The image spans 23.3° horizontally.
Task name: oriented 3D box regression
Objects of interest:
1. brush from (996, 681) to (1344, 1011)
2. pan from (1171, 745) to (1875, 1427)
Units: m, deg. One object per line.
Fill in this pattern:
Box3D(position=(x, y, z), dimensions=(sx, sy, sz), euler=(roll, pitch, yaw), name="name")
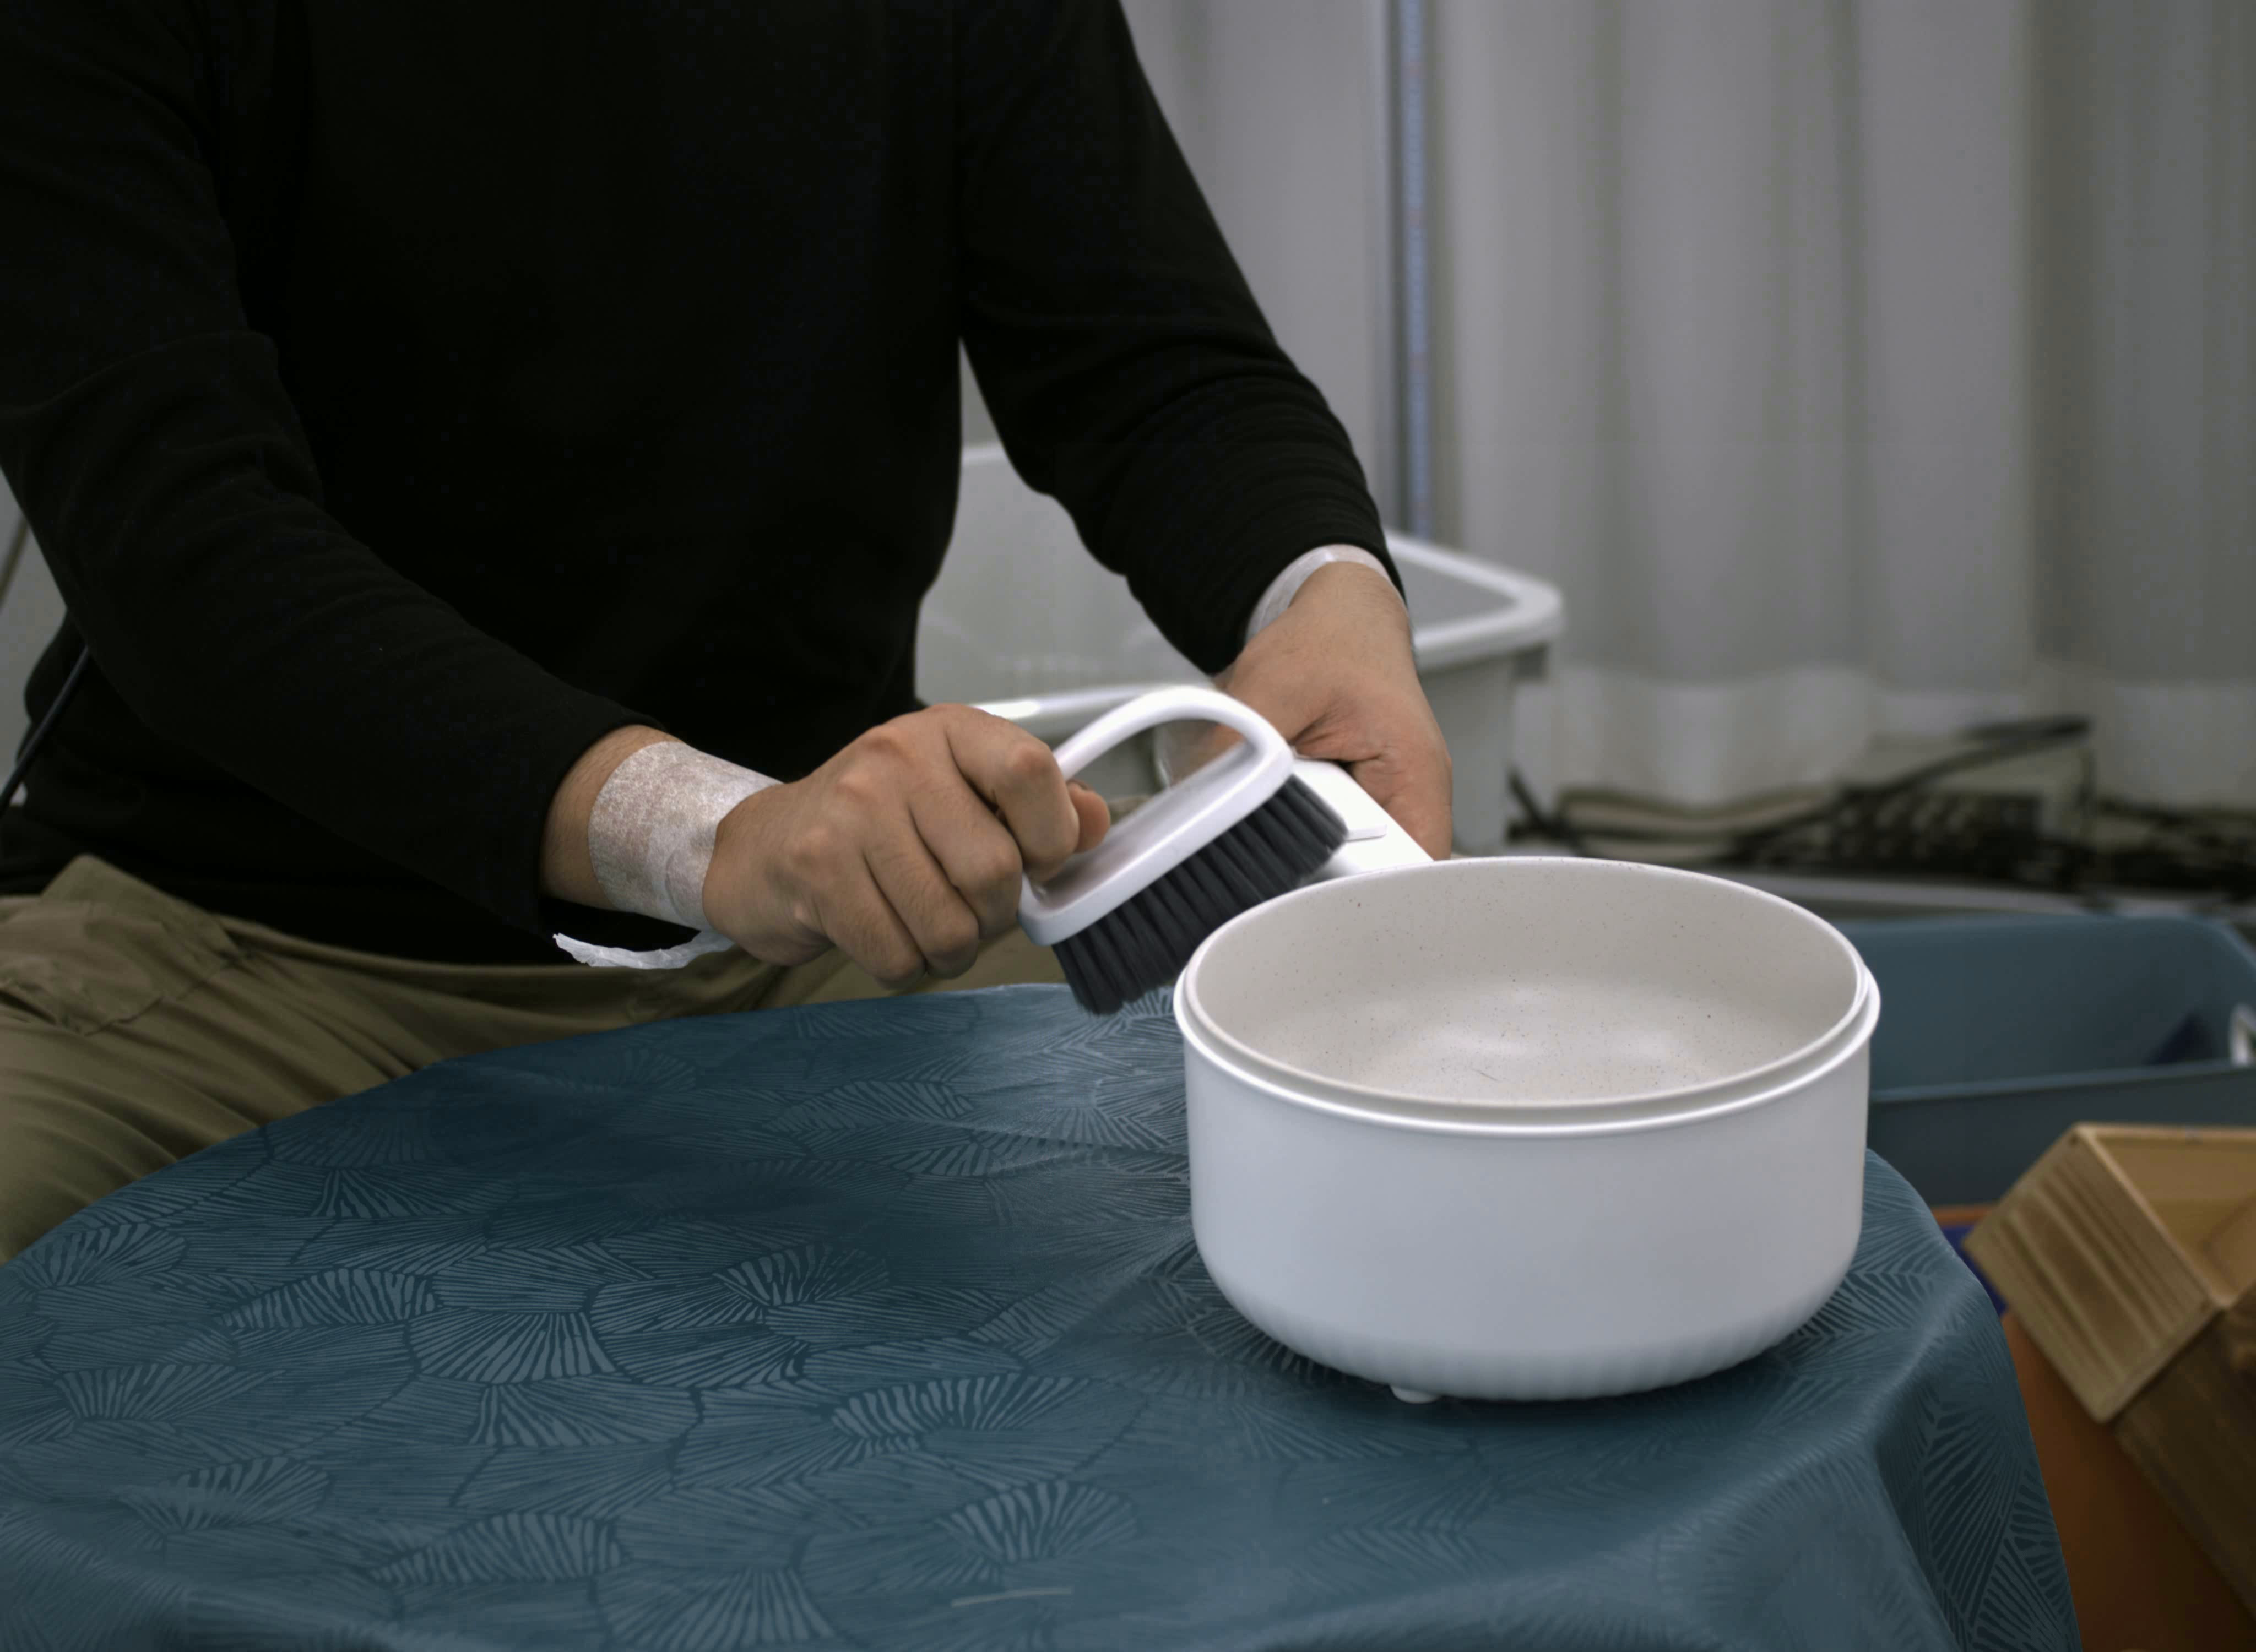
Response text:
Box3D(position=(0.005, -0.001, 1.647), dimensions=(0.099, 0.072, 0.050), euler=(-36, 18, 1), name="brush")
Box3D(position=(0.092, 0.072, 1.644), dimensions=(0.200, 0.101, 0.358), euler=(-10, 20, -15), name="pan")
